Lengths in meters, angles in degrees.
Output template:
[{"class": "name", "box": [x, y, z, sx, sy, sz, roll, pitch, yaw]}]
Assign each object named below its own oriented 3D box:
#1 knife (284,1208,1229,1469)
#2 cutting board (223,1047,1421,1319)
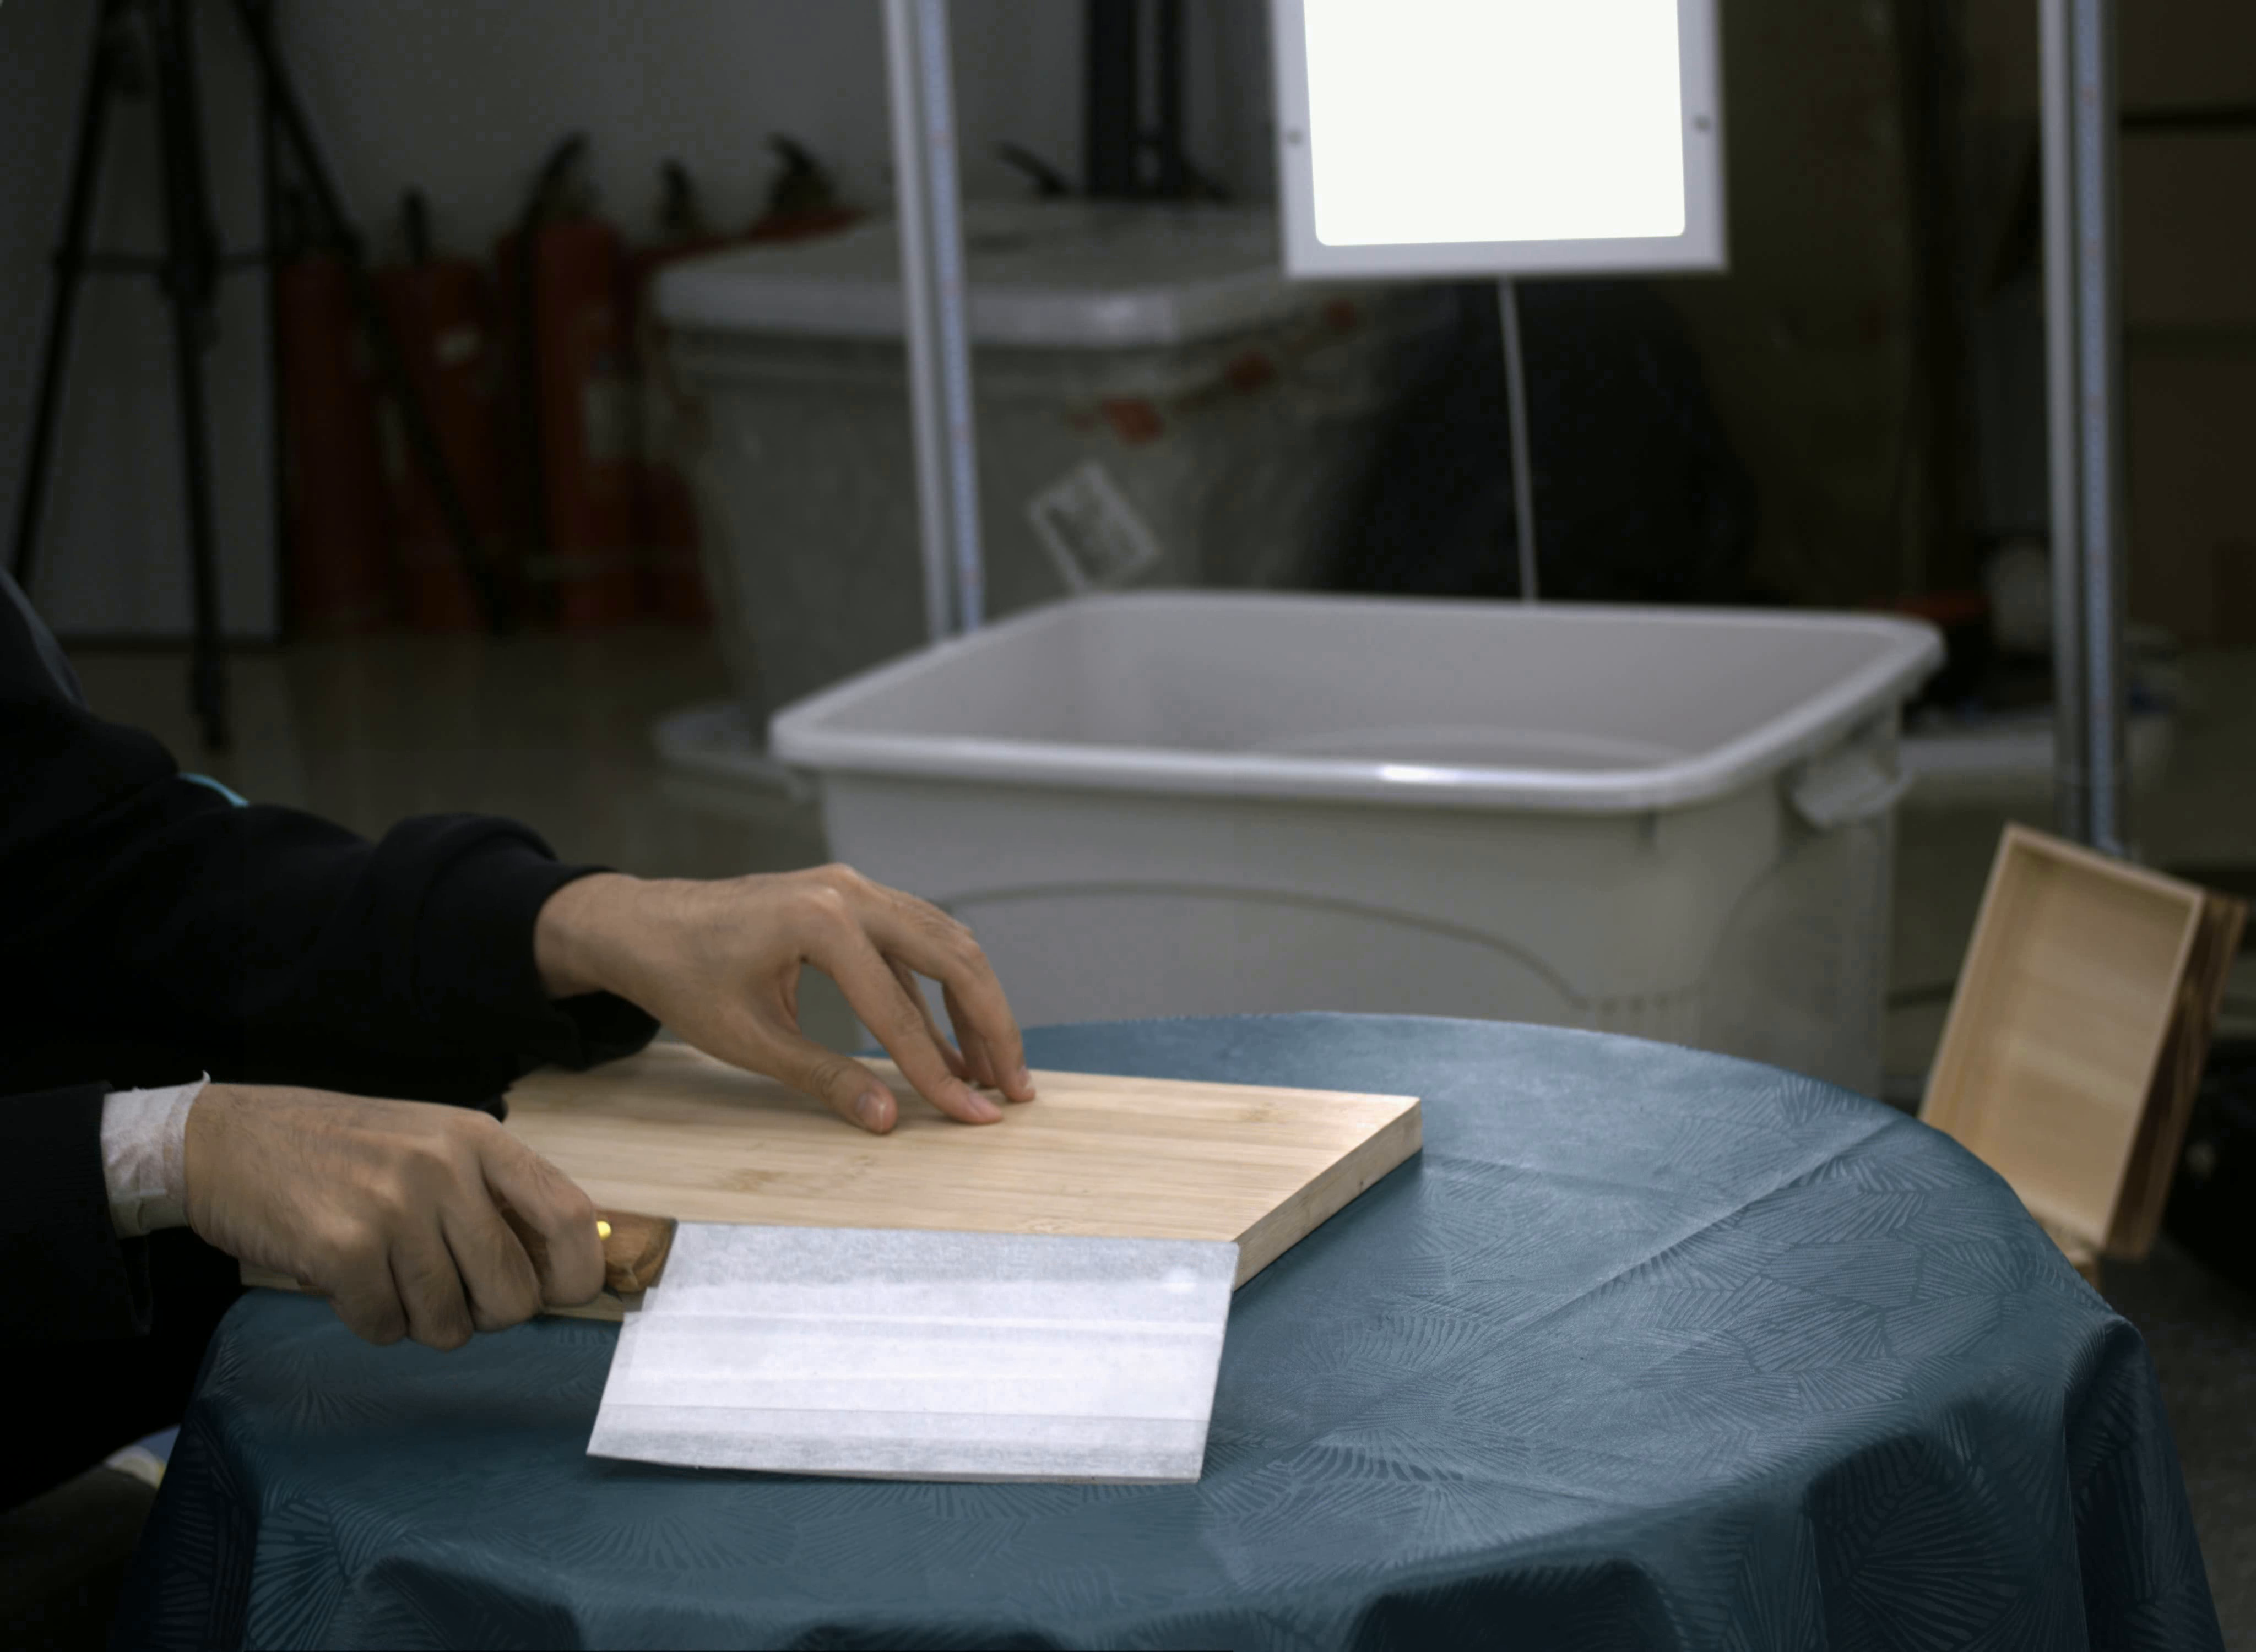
[{"class": "knife", "box": [-0.120, 0.158, 1.686, 0.308, 0.021, 0.092, 1, 49, 15]}, {"class": "cutting board", "box": [-0.103, 0.127, 1.903, 0.355, 0.023, 0.245, 2, 15, 27]}]
